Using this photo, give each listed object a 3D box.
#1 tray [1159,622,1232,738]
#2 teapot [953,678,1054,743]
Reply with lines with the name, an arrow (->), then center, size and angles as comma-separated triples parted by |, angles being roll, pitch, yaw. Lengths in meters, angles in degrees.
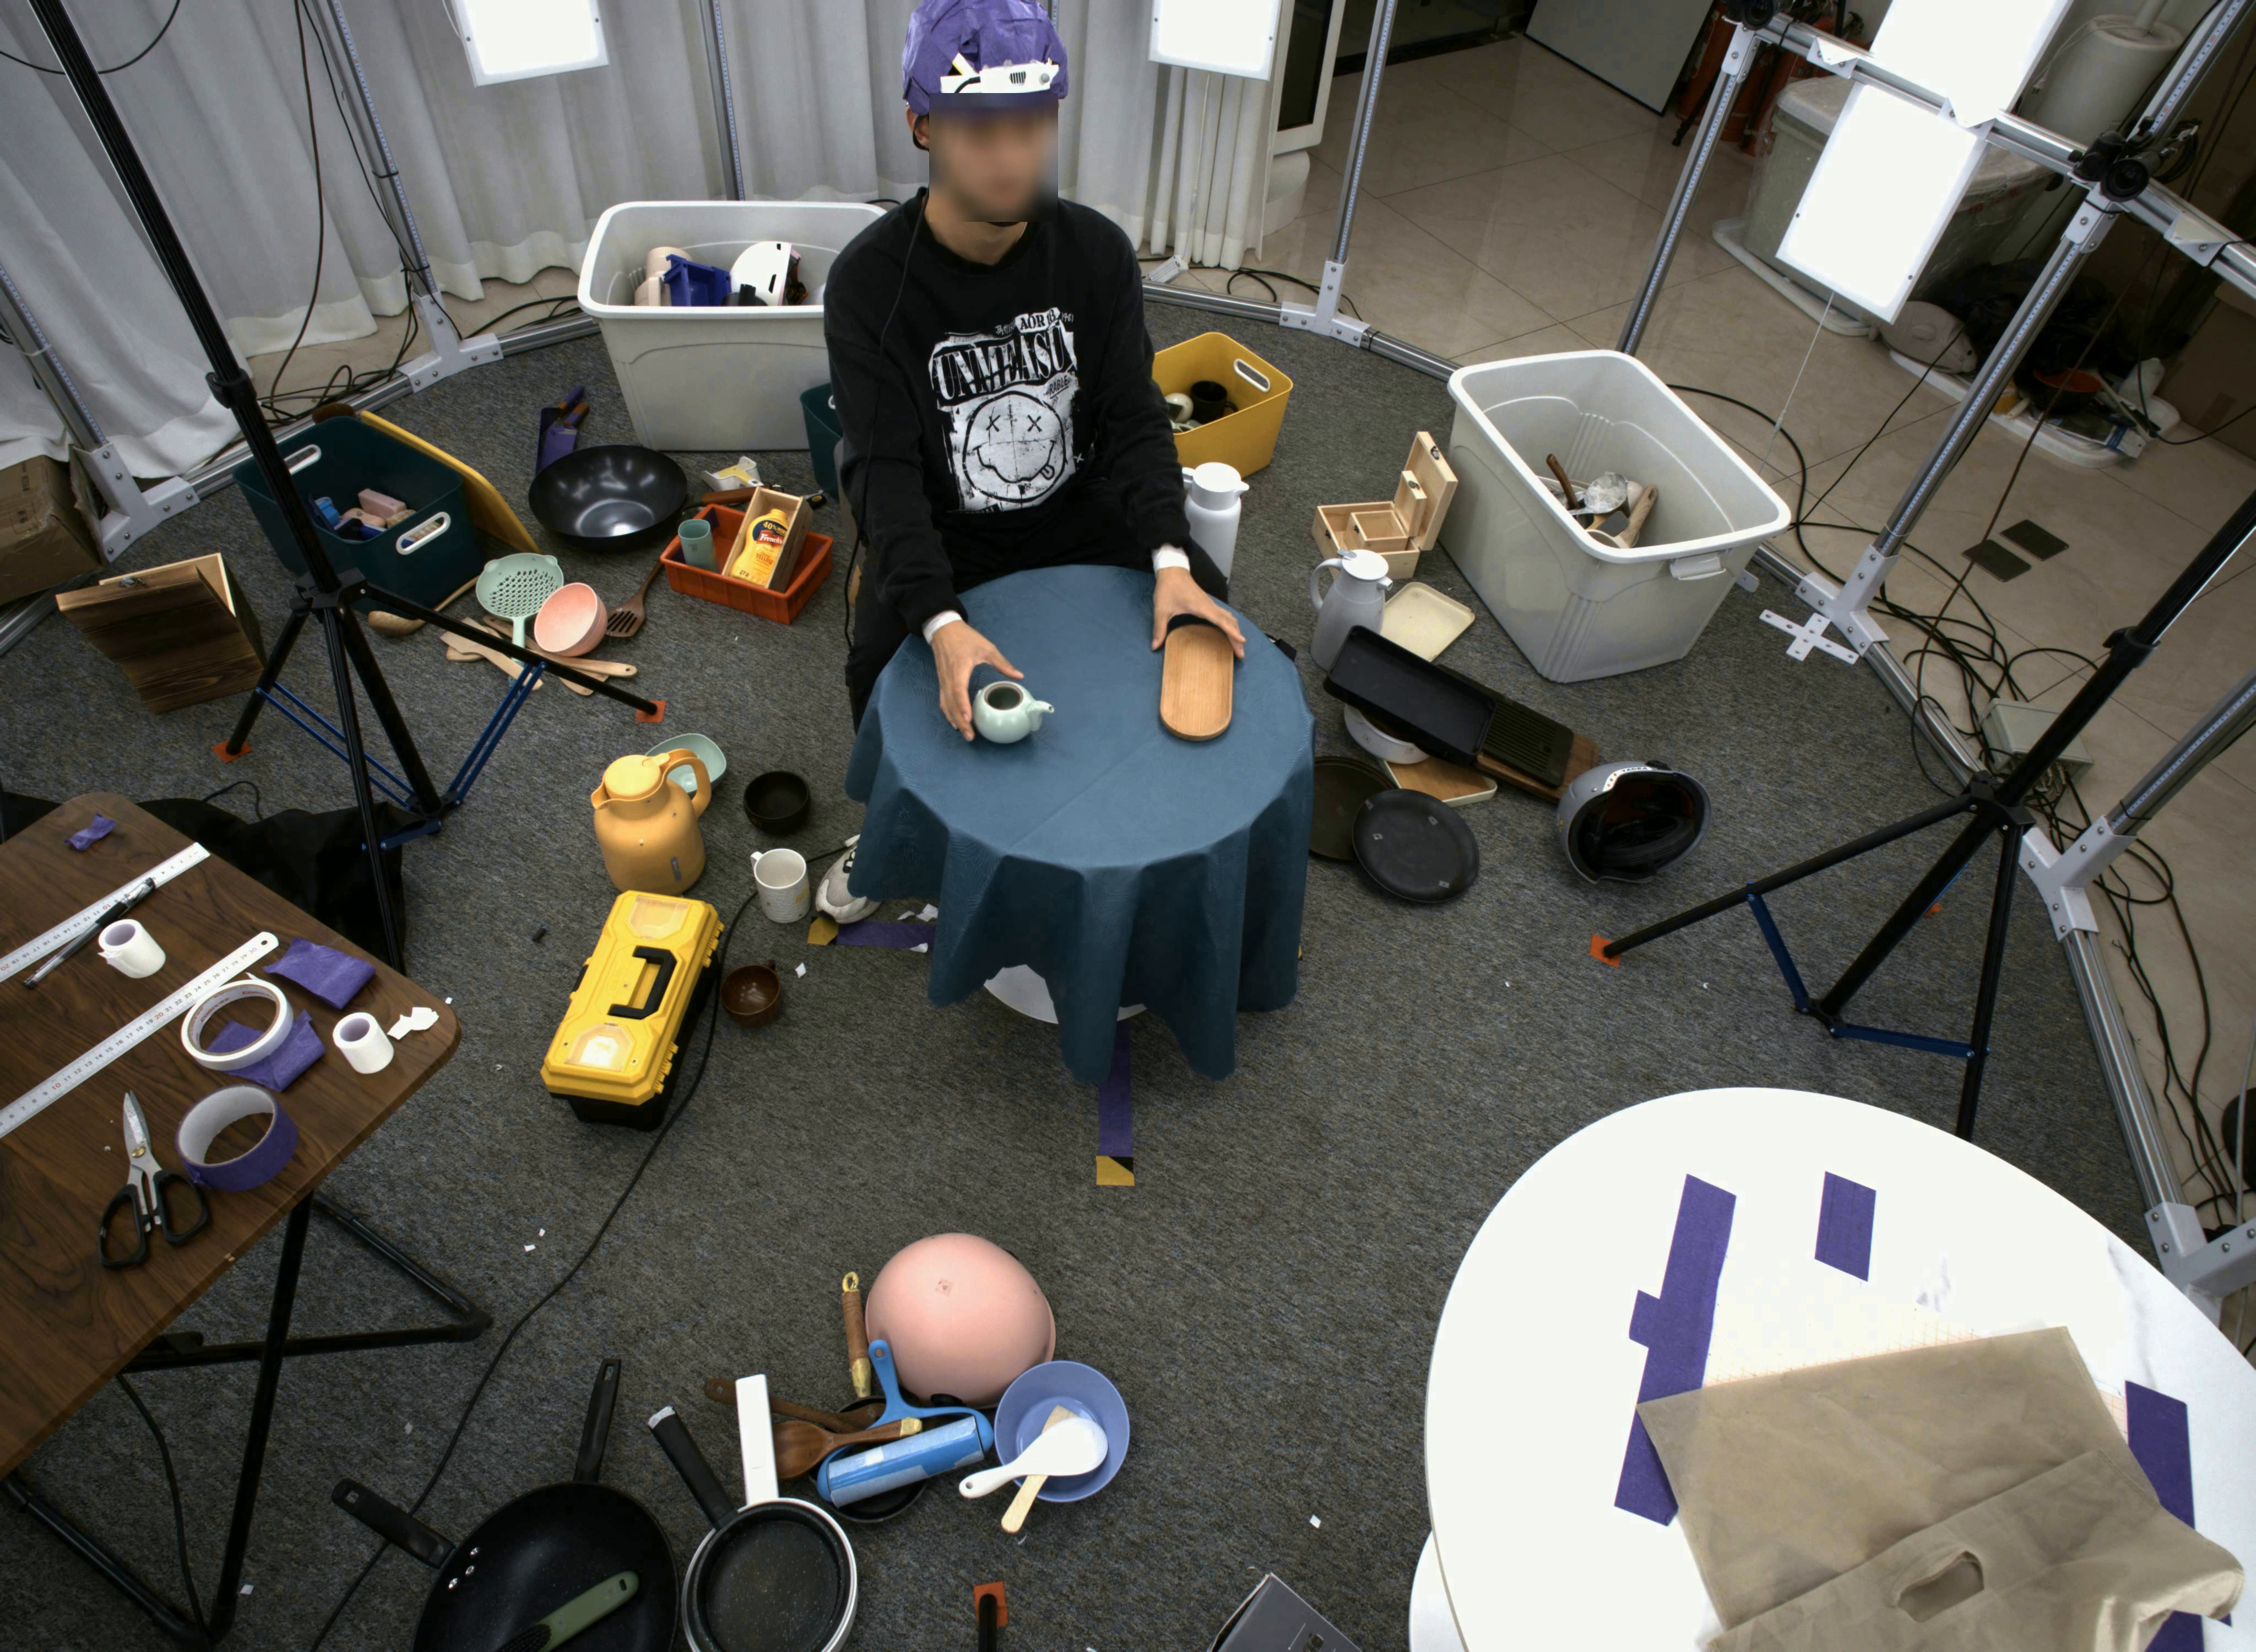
tray -> 0.099, -0.212, 1.849 | 0.101, 0.020, 0.237 | 6, 48, -1
teapot -> -0.169, -0.156, 1.748 | 0.144, 0.073, 0.090 | 19, 50, 10
